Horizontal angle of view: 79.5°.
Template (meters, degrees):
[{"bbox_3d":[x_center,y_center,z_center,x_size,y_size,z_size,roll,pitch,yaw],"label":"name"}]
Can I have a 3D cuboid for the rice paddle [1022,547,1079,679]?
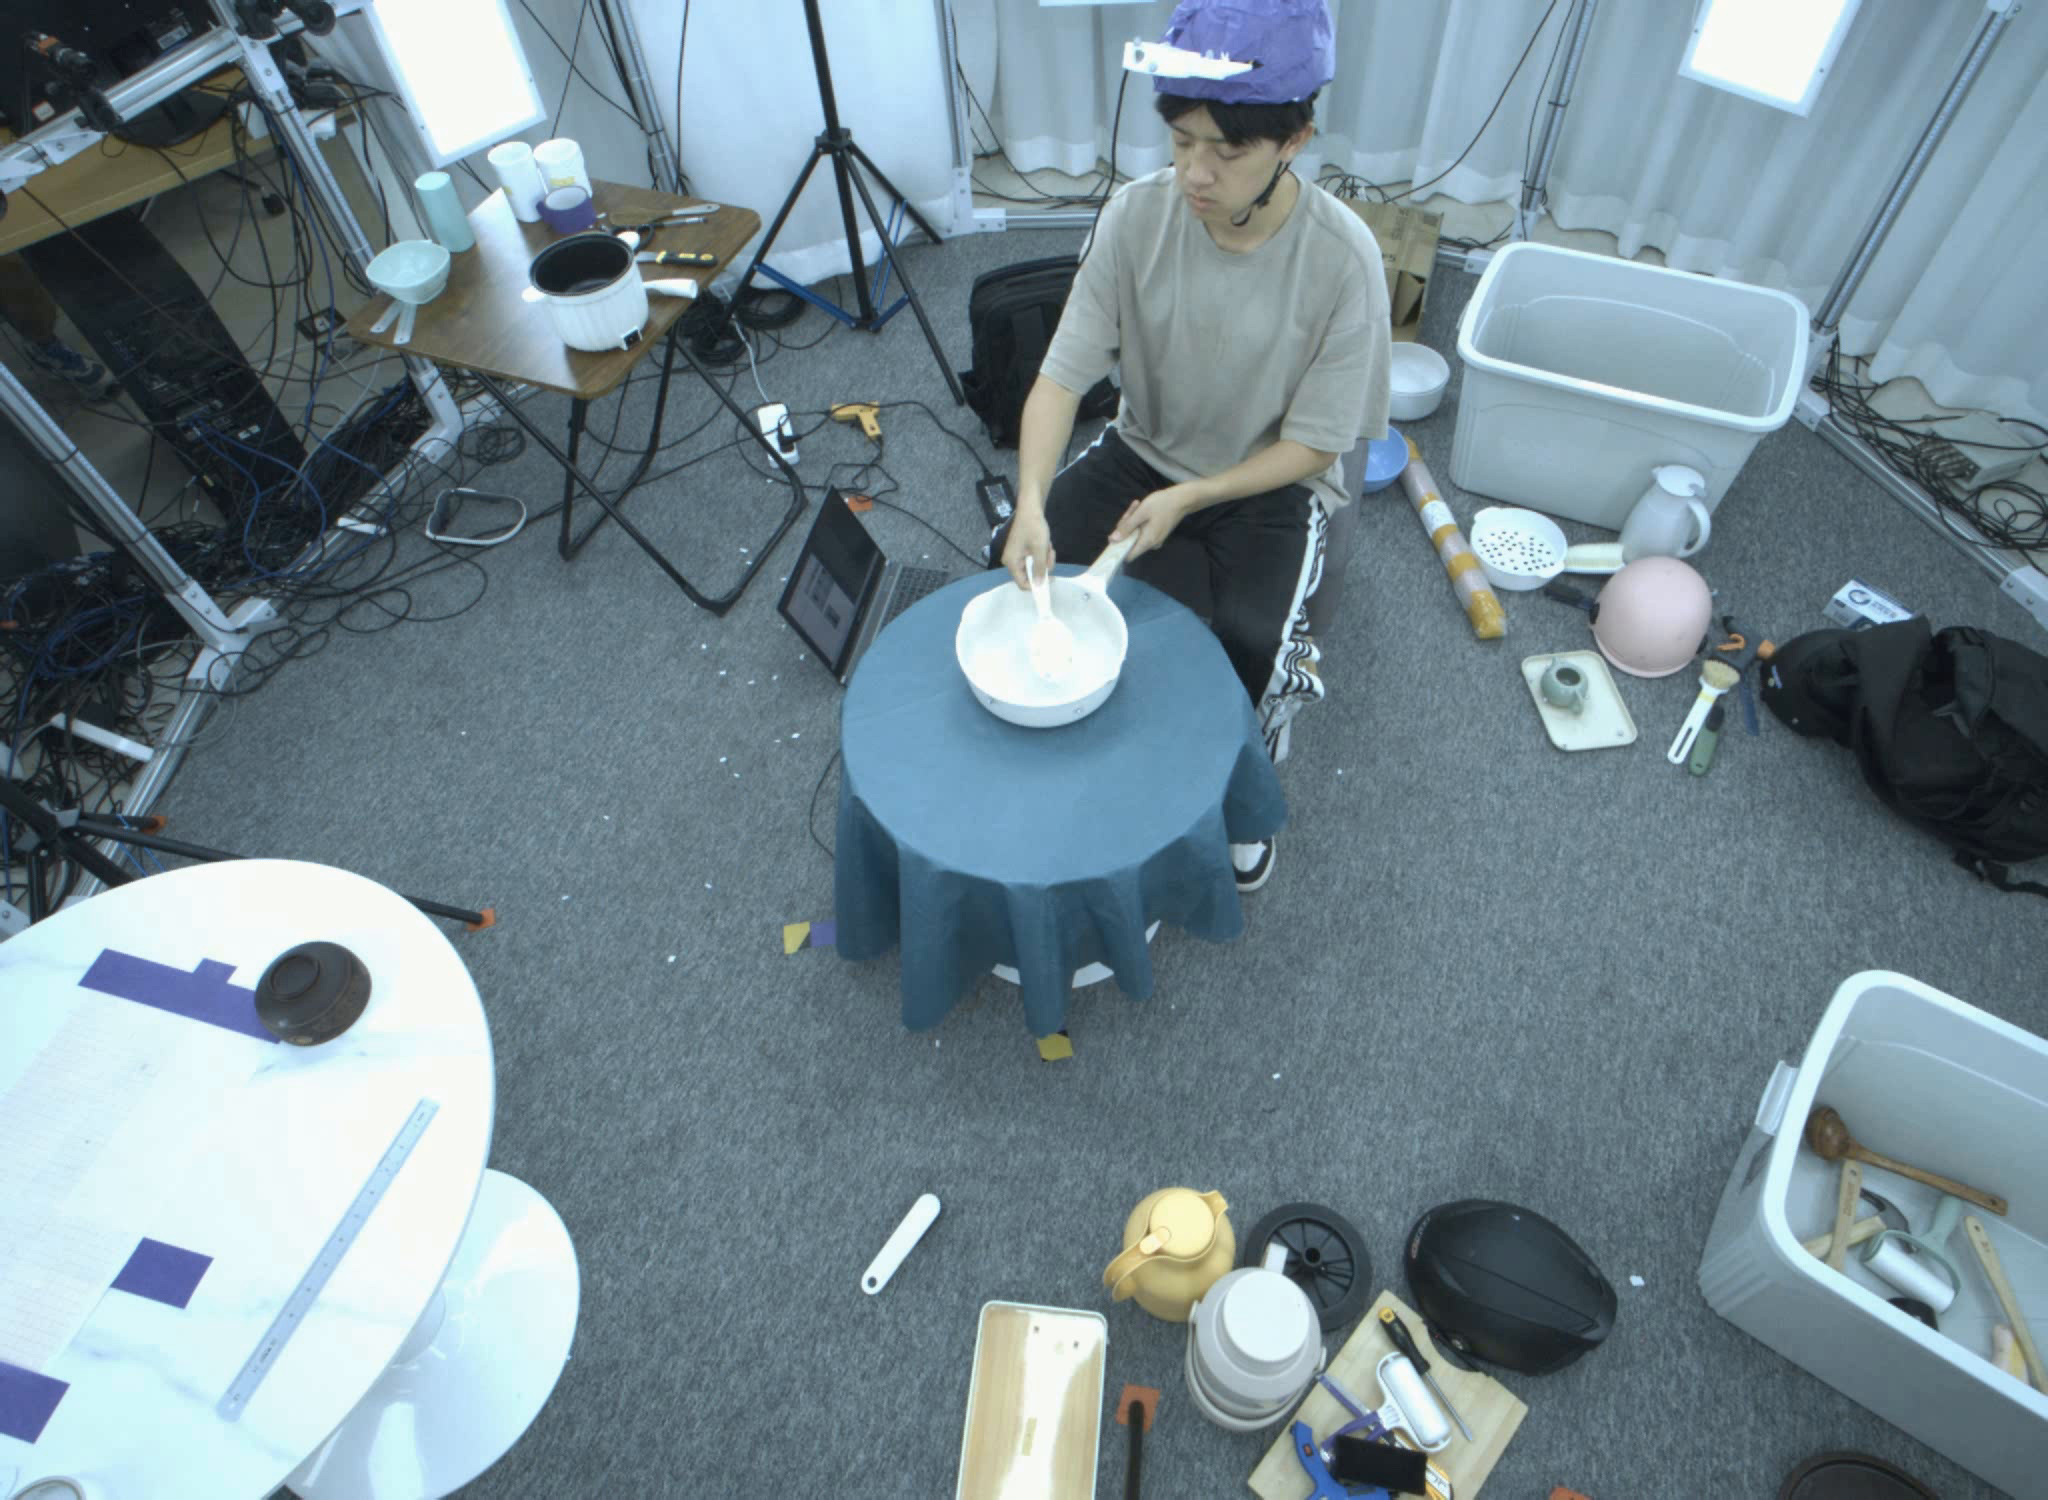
[{"bbox_3d":[0.033,-0.201,1.808,0.068,0.030,0.204,-15,78,10],"label":"rice paddle"}]

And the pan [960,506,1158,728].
[{"bbox_3d":[0.085,-0.205,1.868,0.259,0.103,0.437,27,60,22],"label":"pan"}]
